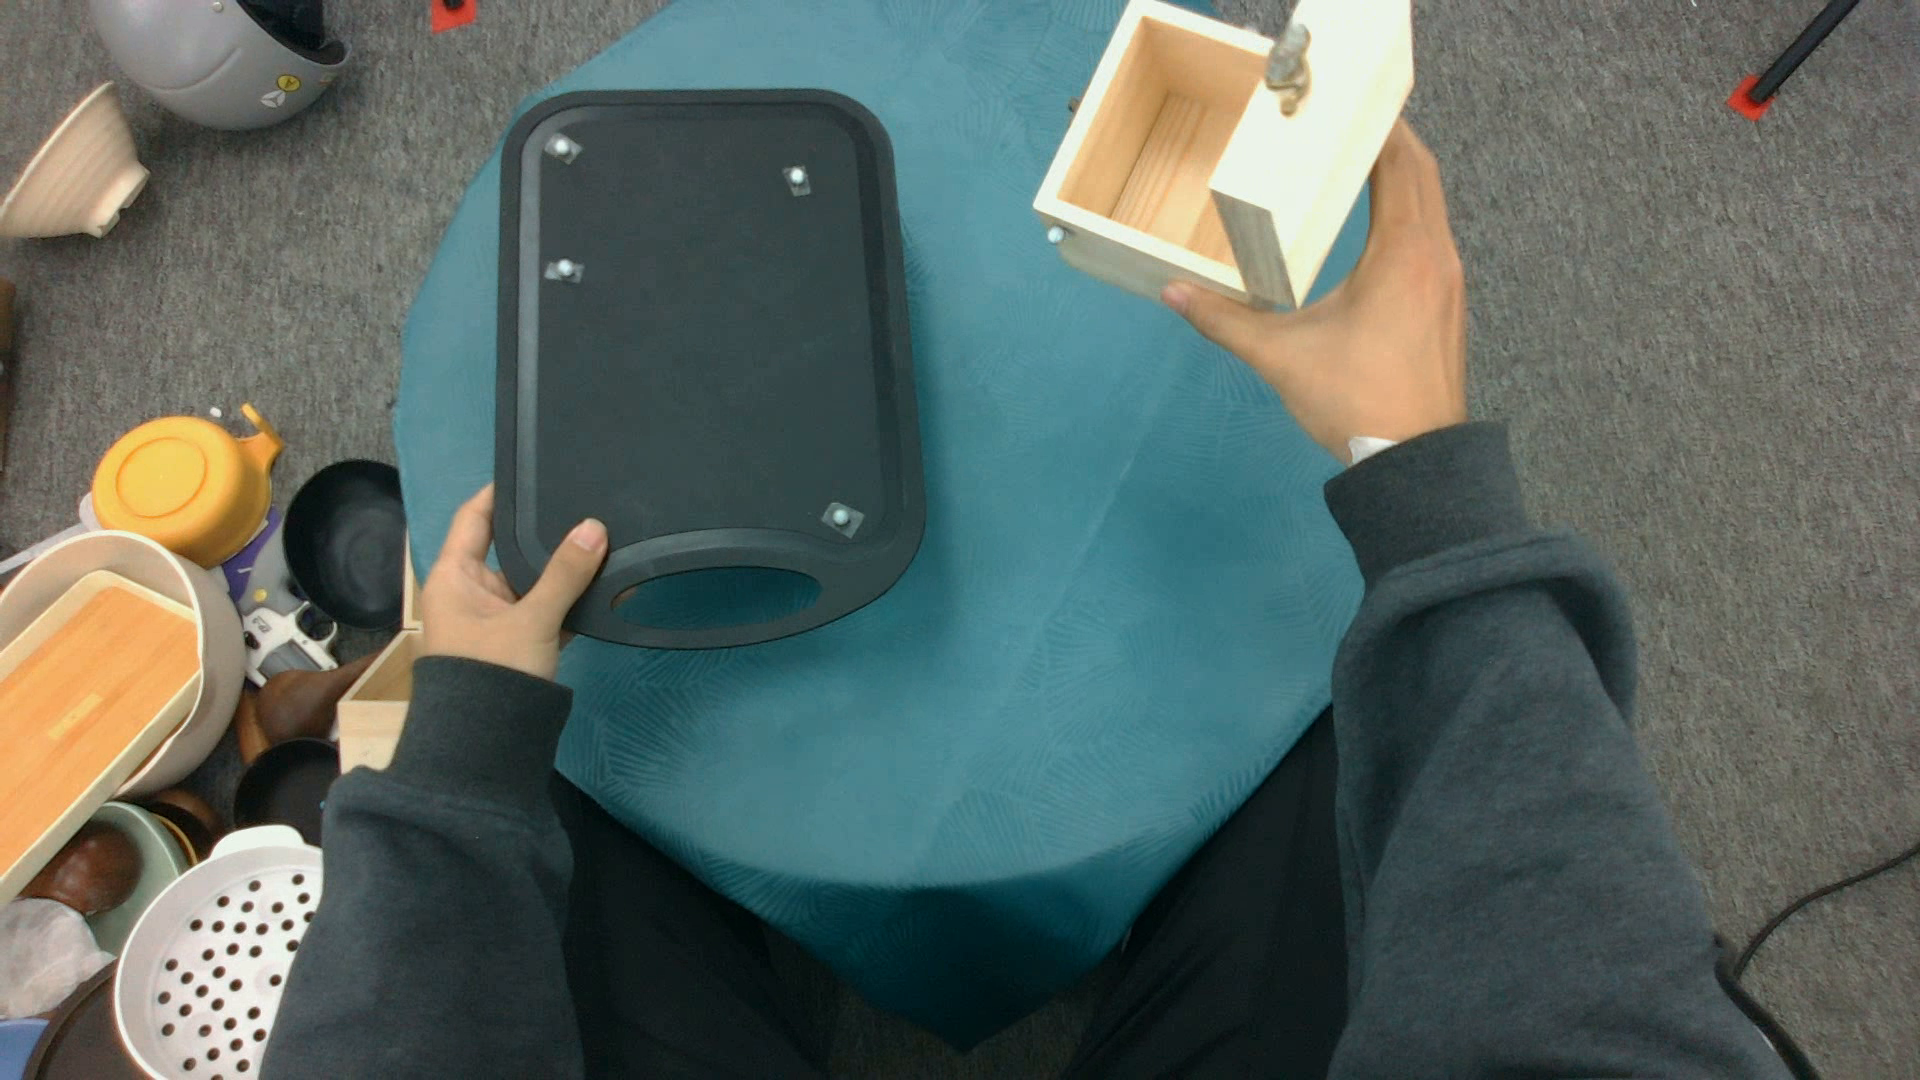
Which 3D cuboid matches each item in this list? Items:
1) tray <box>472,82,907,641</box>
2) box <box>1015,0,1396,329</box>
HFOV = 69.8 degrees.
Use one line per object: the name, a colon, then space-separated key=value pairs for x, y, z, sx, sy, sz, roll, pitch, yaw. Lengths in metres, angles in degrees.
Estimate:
tray: x=-0.139 y=-0.105 z=0.708 sx=0.211 sy=0.010 sz=0.326 roll=-3 pitch=68 yaw=-8
box: x=0.094 y=-0.174 z=0.568 sx=0.134 sy=0.184 sz=0.102 roll=26 pitch=87 yaw=16
